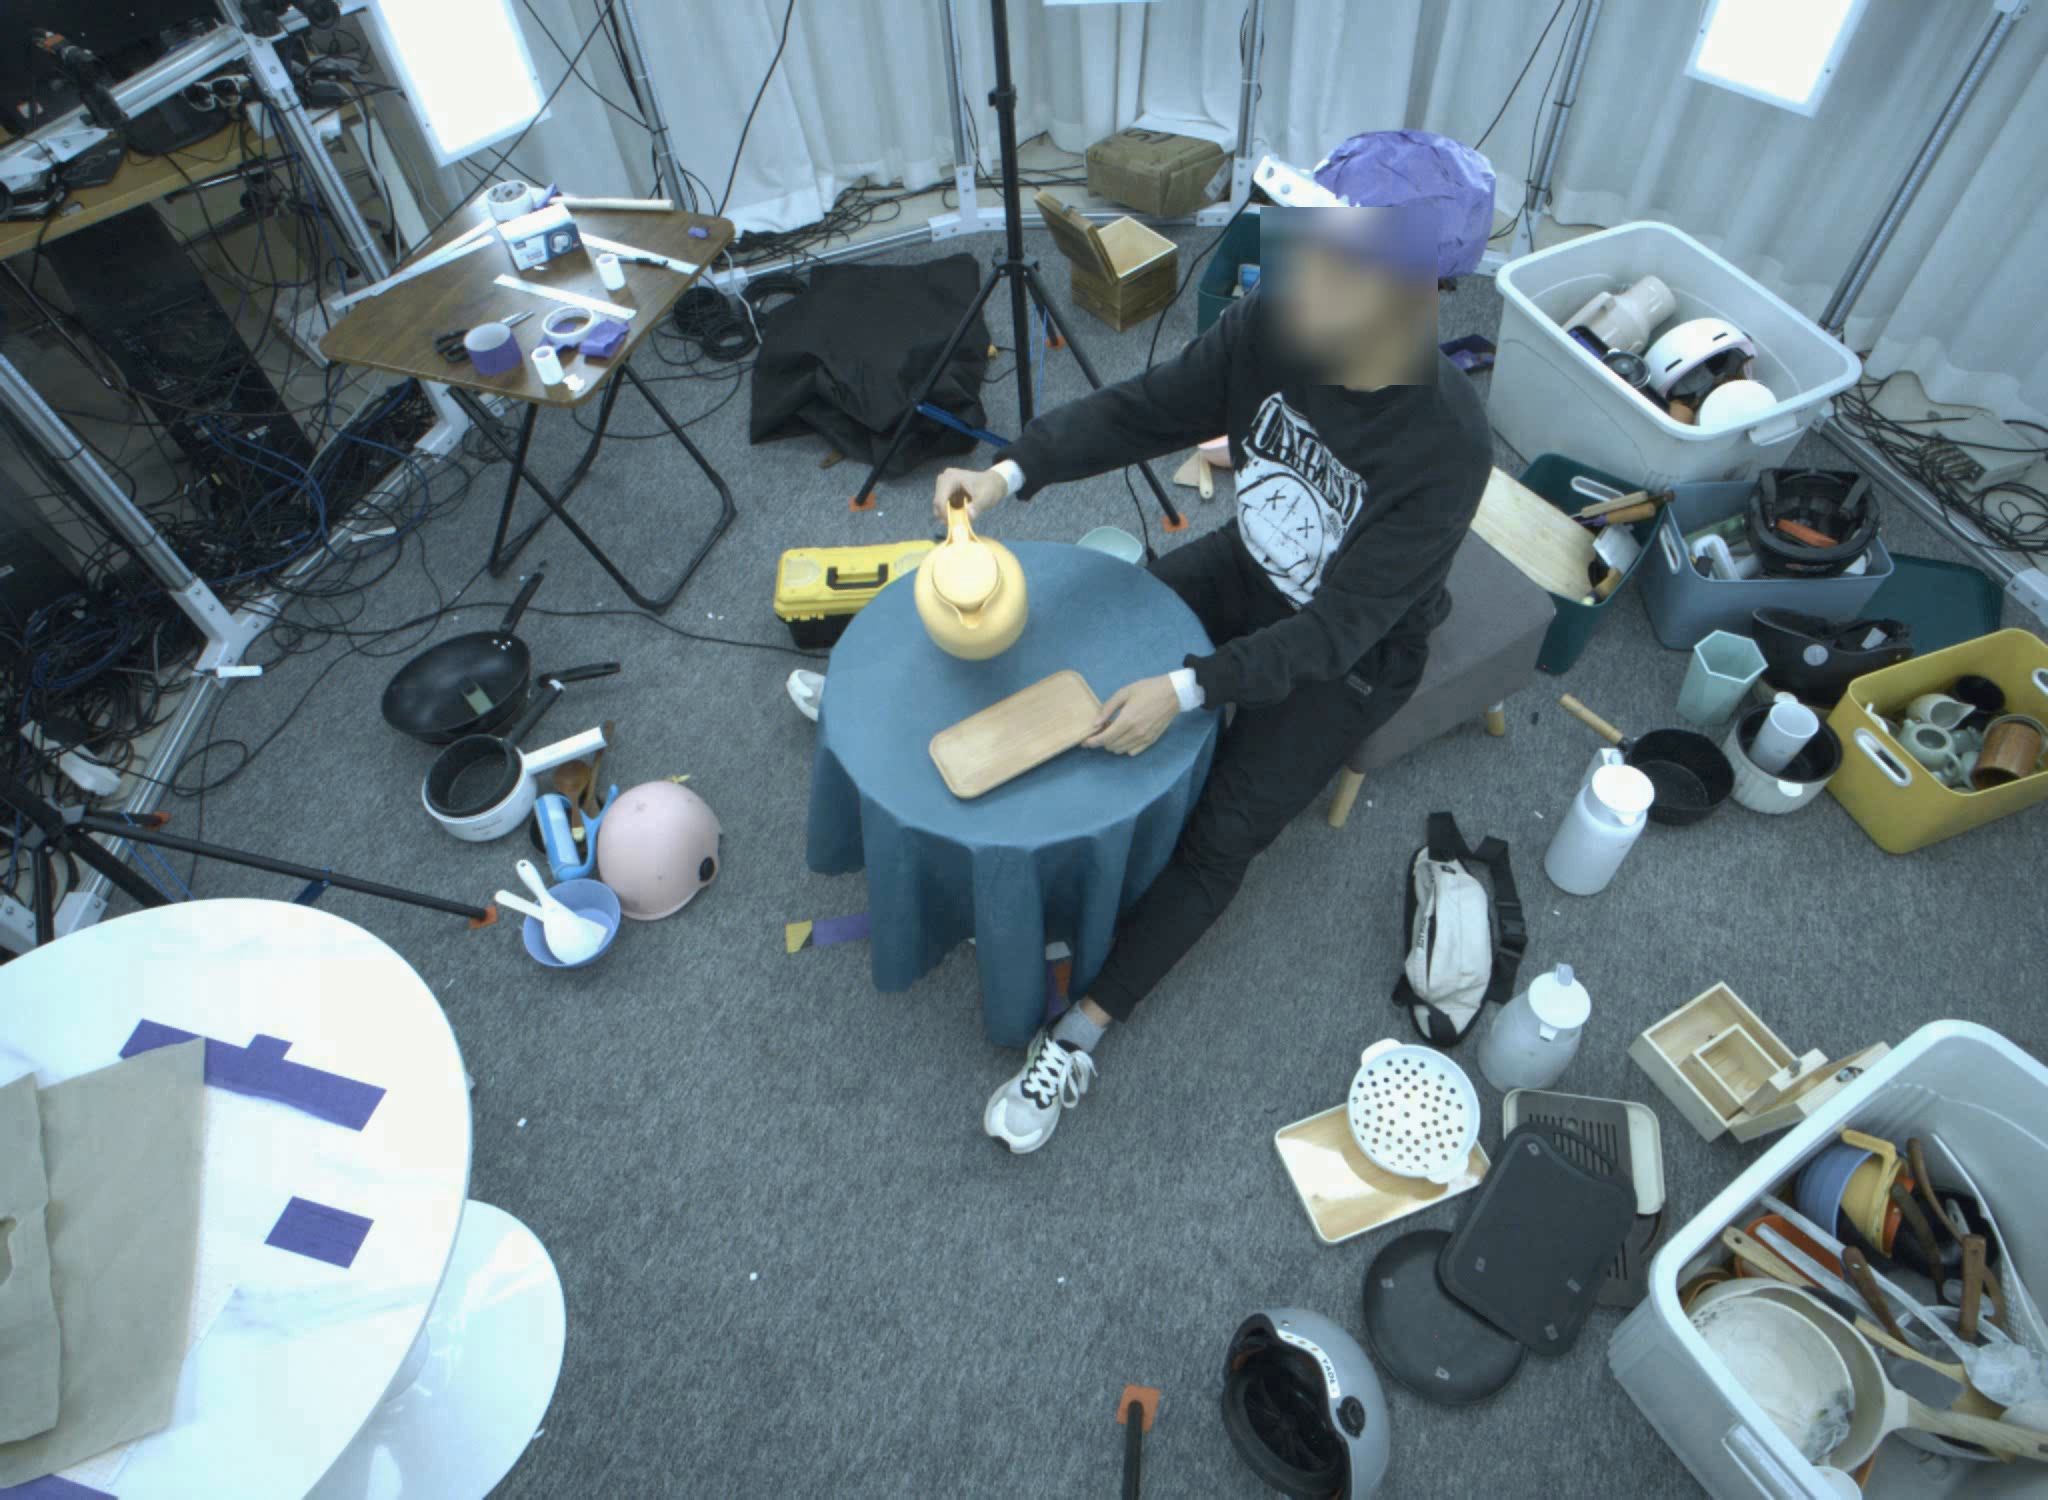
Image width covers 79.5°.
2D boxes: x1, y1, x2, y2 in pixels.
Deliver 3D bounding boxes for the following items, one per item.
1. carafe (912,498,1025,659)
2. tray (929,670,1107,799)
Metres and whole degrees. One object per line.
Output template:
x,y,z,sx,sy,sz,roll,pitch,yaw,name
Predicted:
-0.080,-0.245,1.756,0.164,0.260,0.202,-5,85,-2,carafe
-0.009,-0.024,1.770,0.252,0.023,0.128,-26,58,-8,tray
